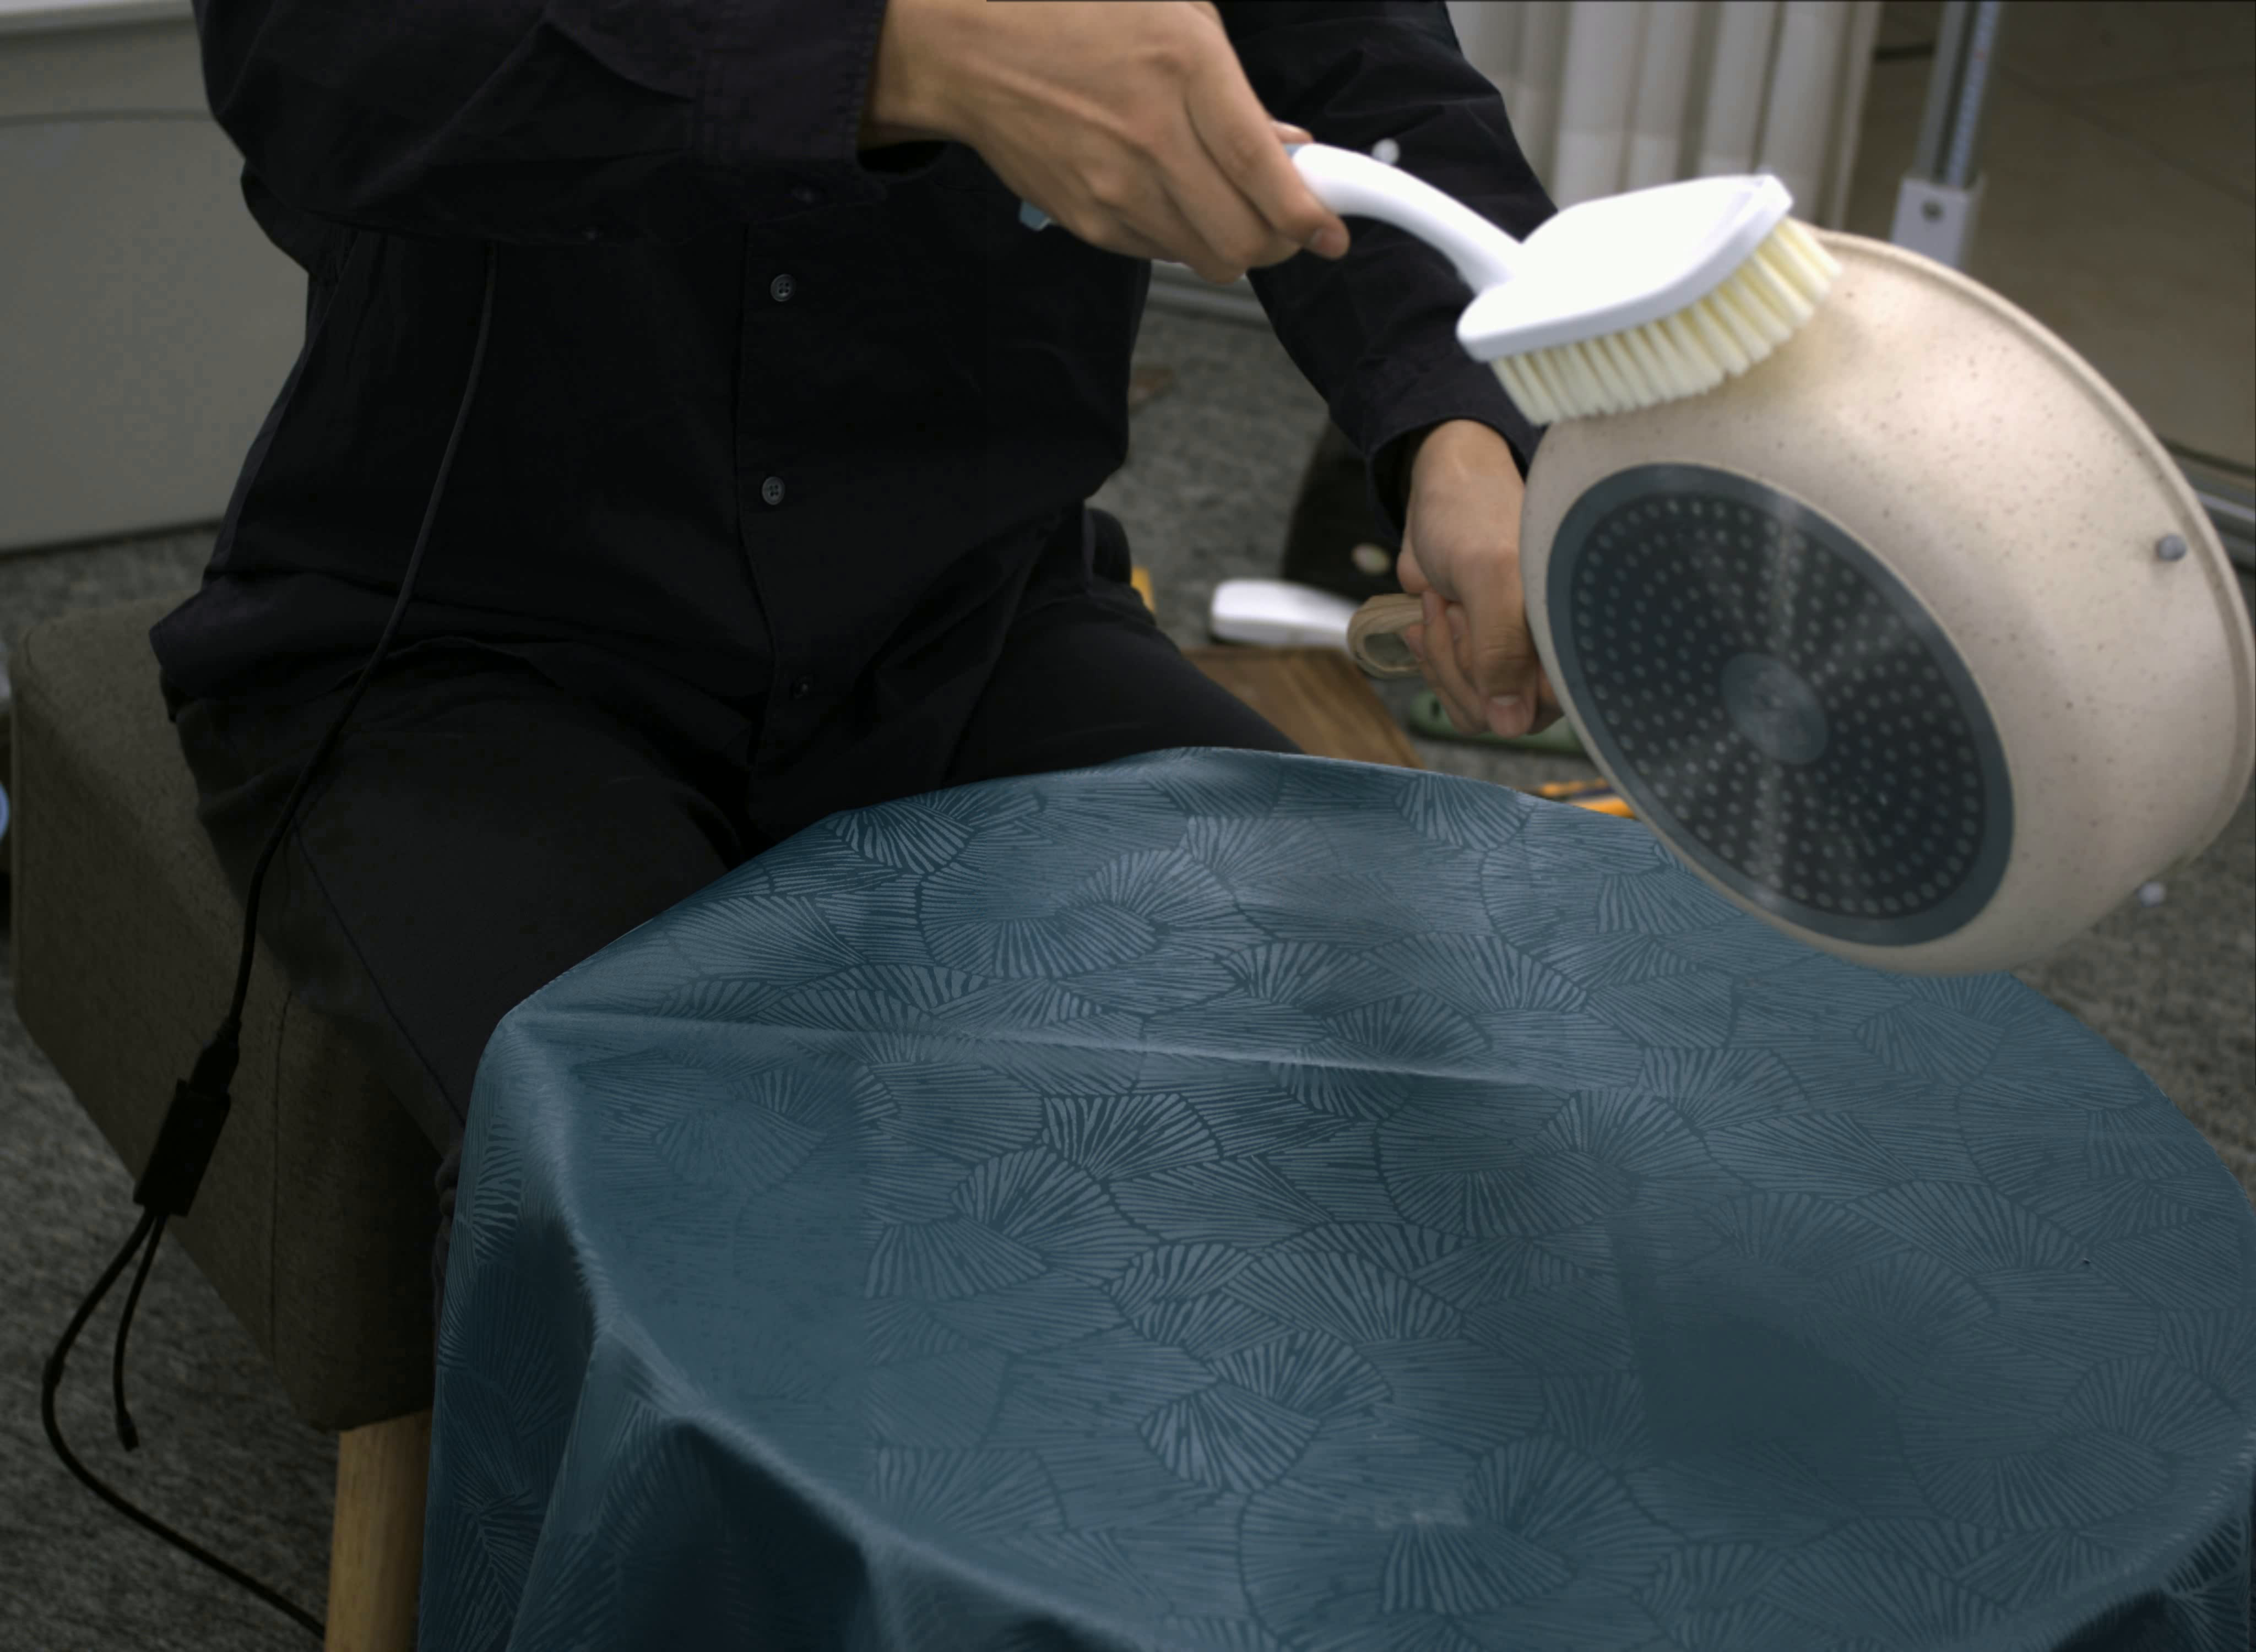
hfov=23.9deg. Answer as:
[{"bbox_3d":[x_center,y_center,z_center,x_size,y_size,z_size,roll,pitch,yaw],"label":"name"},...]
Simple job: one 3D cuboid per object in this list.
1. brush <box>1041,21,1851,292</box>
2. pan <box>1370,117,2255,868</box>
[{"bbox_3d":[0.102,-0.215,1.711,0.082,0.084,0.327,-6,9,-44],"label":"brush"},{"bbox_3d":[0.196,-0.092,1.779,0.102,0.262,0.436,-42,19,-30],"label":"pan"}]
